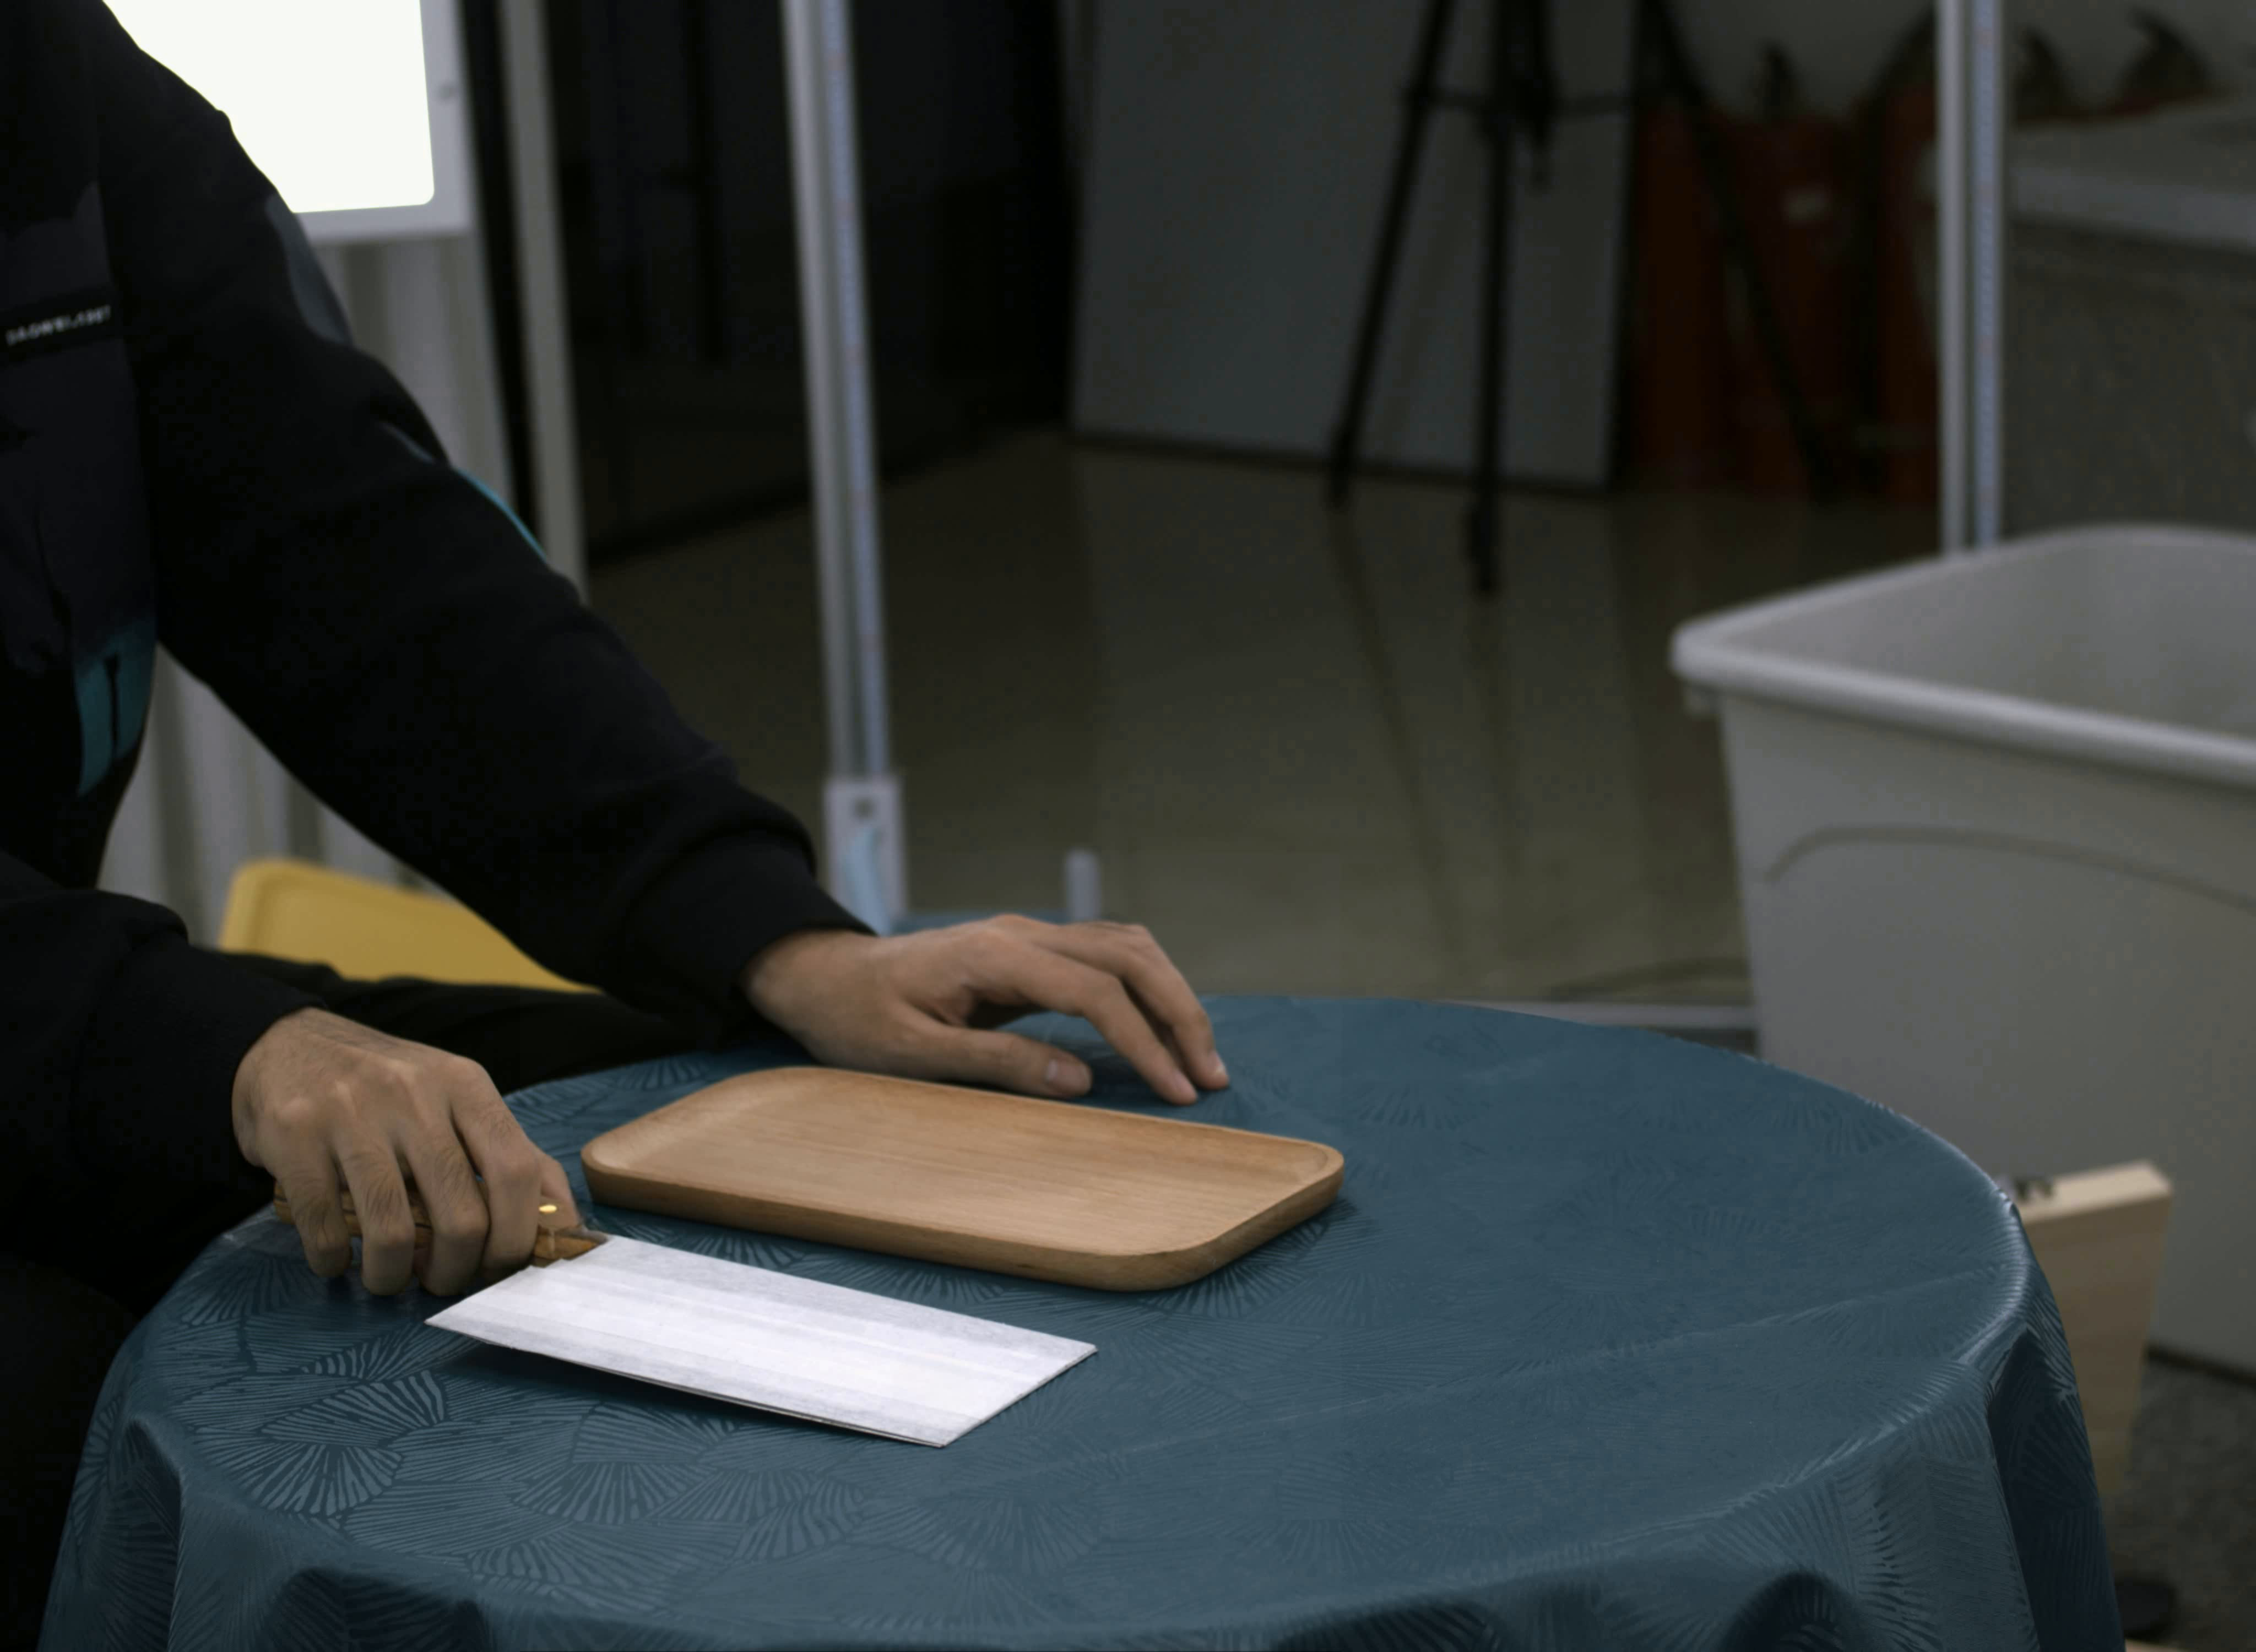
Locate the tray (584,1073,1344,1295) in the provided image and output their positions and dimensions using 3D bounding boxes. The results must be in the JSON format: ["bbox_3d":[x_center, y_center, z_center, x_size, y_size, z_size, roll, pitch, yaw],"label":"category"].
[{"bbox_3d":[-0.055,0.116,1.775,0.252,0.023,0.128,5,14,37],"label":"tray"}]

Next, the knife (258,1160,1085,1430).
[{"bbox_3d":[-0.159,0.147,1.665,0.307,0.021,0.091,9,19,31],"label":"knife"}]
